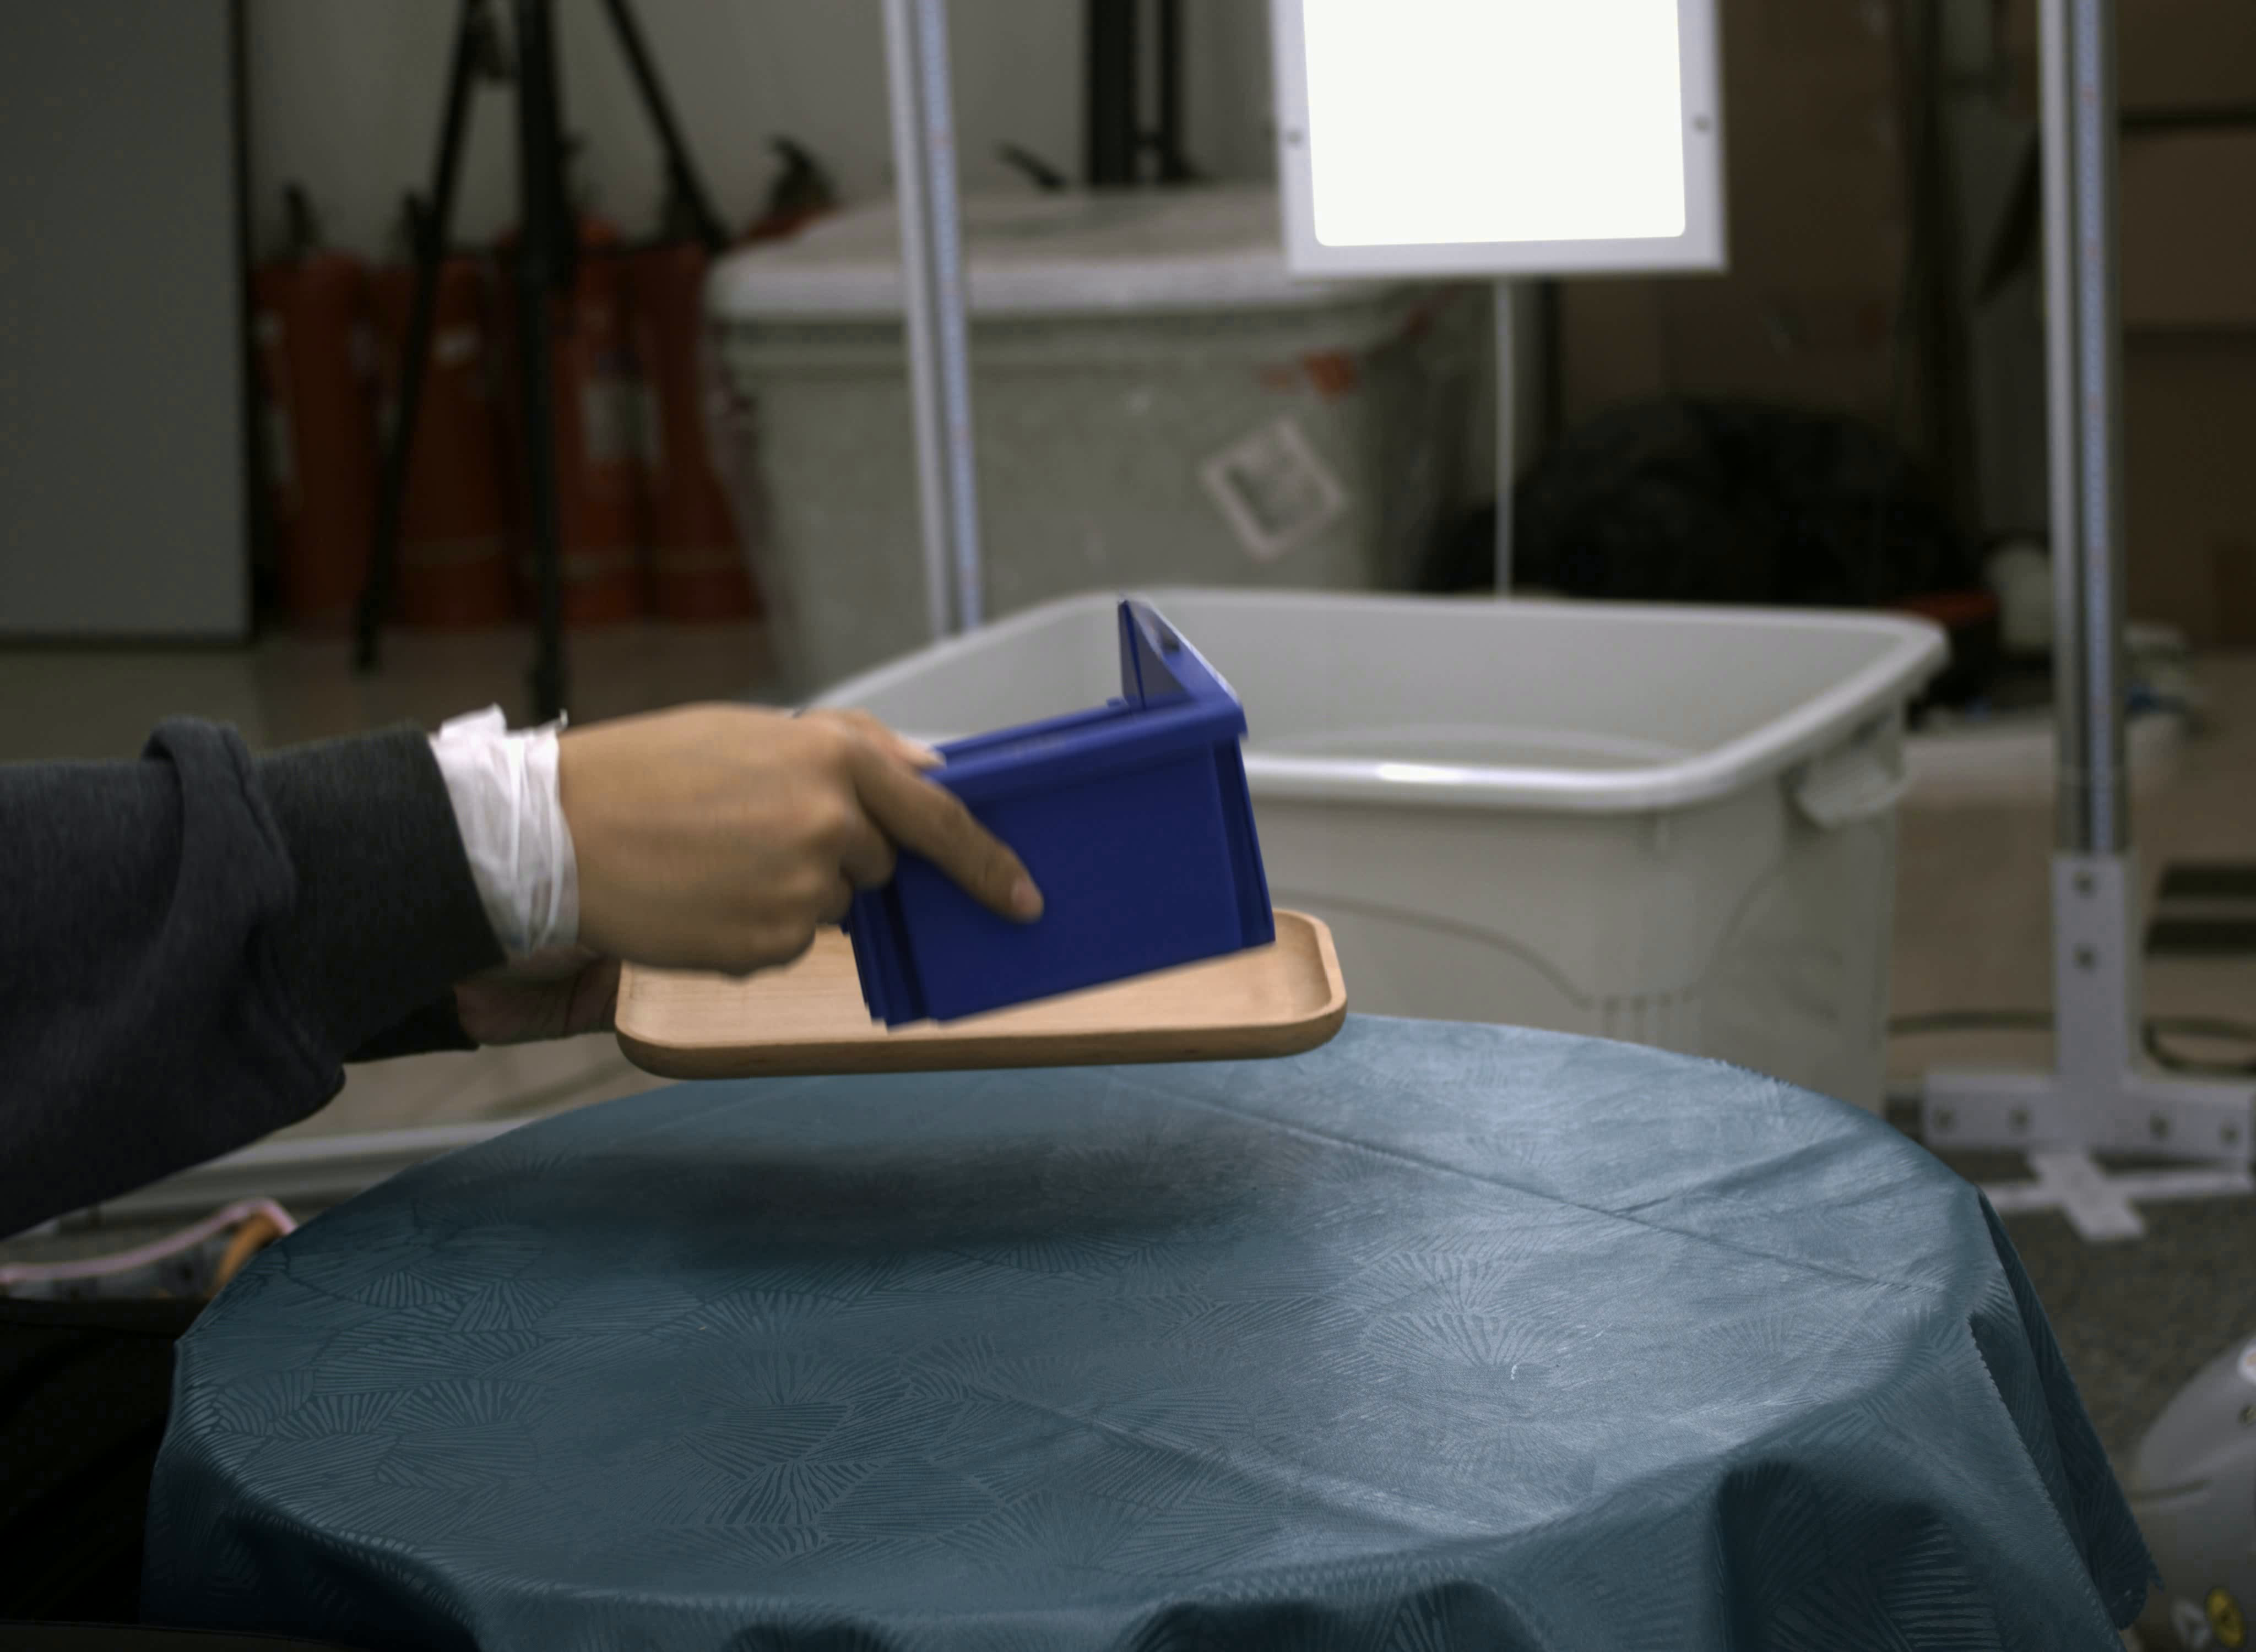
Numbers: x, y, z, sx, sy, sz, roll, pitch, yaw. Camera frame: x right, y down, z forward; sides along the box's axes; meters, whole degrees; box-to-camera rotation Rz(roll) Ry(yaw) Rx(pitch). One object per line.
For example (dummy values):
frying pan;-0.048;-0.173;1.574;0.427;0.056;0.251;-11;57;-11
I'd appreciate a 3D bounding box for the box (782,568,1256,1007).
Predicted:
box;-0.038;-0.015;1.697;0.124;0.082;0.180;-13;19;-4

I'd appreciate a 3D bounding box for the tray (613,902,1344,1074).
tray;-0.052;0.056;1.907;0.250;0.023;0.130;-3;15;1
